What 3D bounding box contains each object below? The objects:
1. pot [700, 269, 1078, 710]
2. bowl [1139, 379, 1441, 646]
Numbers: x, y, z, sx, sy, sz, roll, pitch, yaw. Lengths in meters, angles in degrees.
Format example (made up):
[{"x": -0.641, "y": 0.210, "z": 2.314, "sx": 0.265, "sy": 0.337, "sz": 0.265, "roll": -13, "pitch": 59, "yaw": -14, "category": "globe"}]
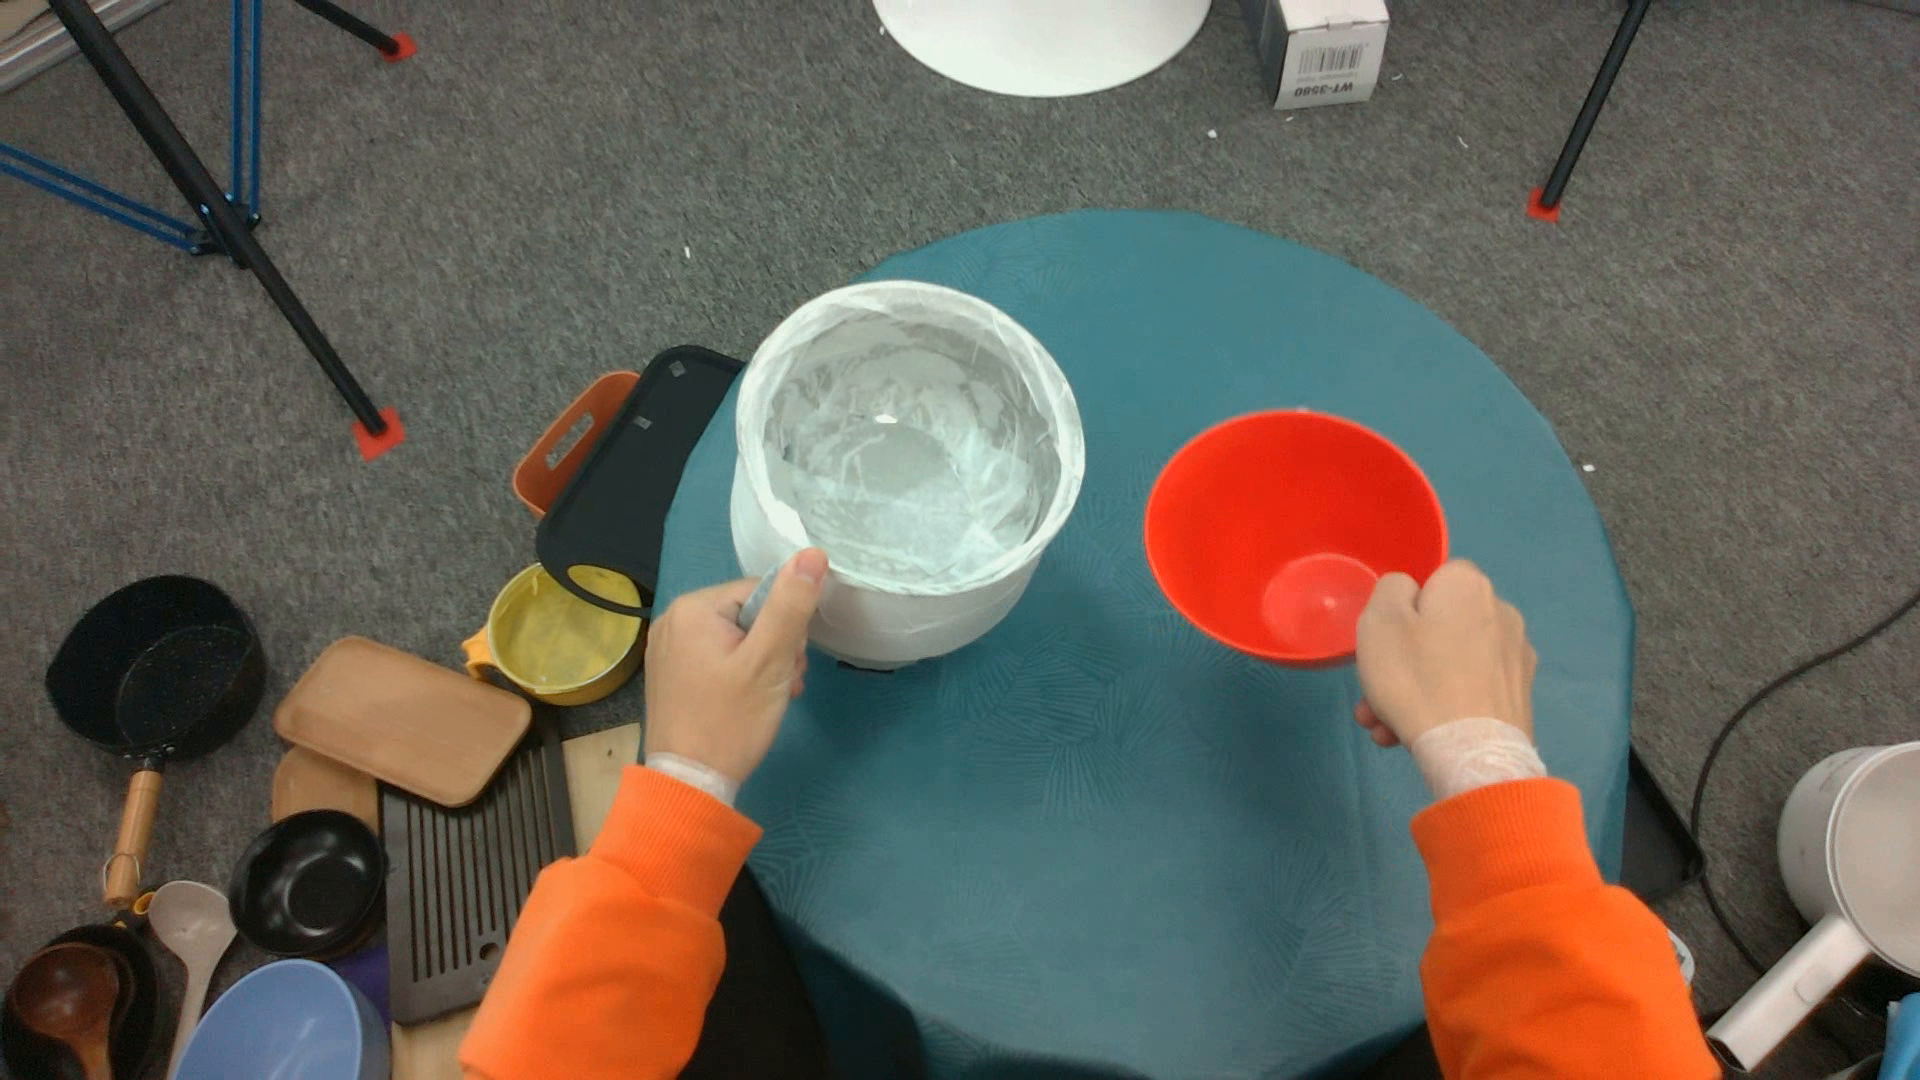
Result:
[{"x": -0.053, "y": -0.016, "z": 0.732, "sx": 0.179, "sy": 0.136, "sz": 0.235, "roll": 34, "pitch": 64, "yaw": 5, "category": "pot"}, {"x": 0.176, "y": -0.001, "z": 0.729, "sx": 0.148, "sy": 0.104, "sz": 0.148, "roll": -8, "pitch": 60, "yaw": 14, "category": "bowl"}]
